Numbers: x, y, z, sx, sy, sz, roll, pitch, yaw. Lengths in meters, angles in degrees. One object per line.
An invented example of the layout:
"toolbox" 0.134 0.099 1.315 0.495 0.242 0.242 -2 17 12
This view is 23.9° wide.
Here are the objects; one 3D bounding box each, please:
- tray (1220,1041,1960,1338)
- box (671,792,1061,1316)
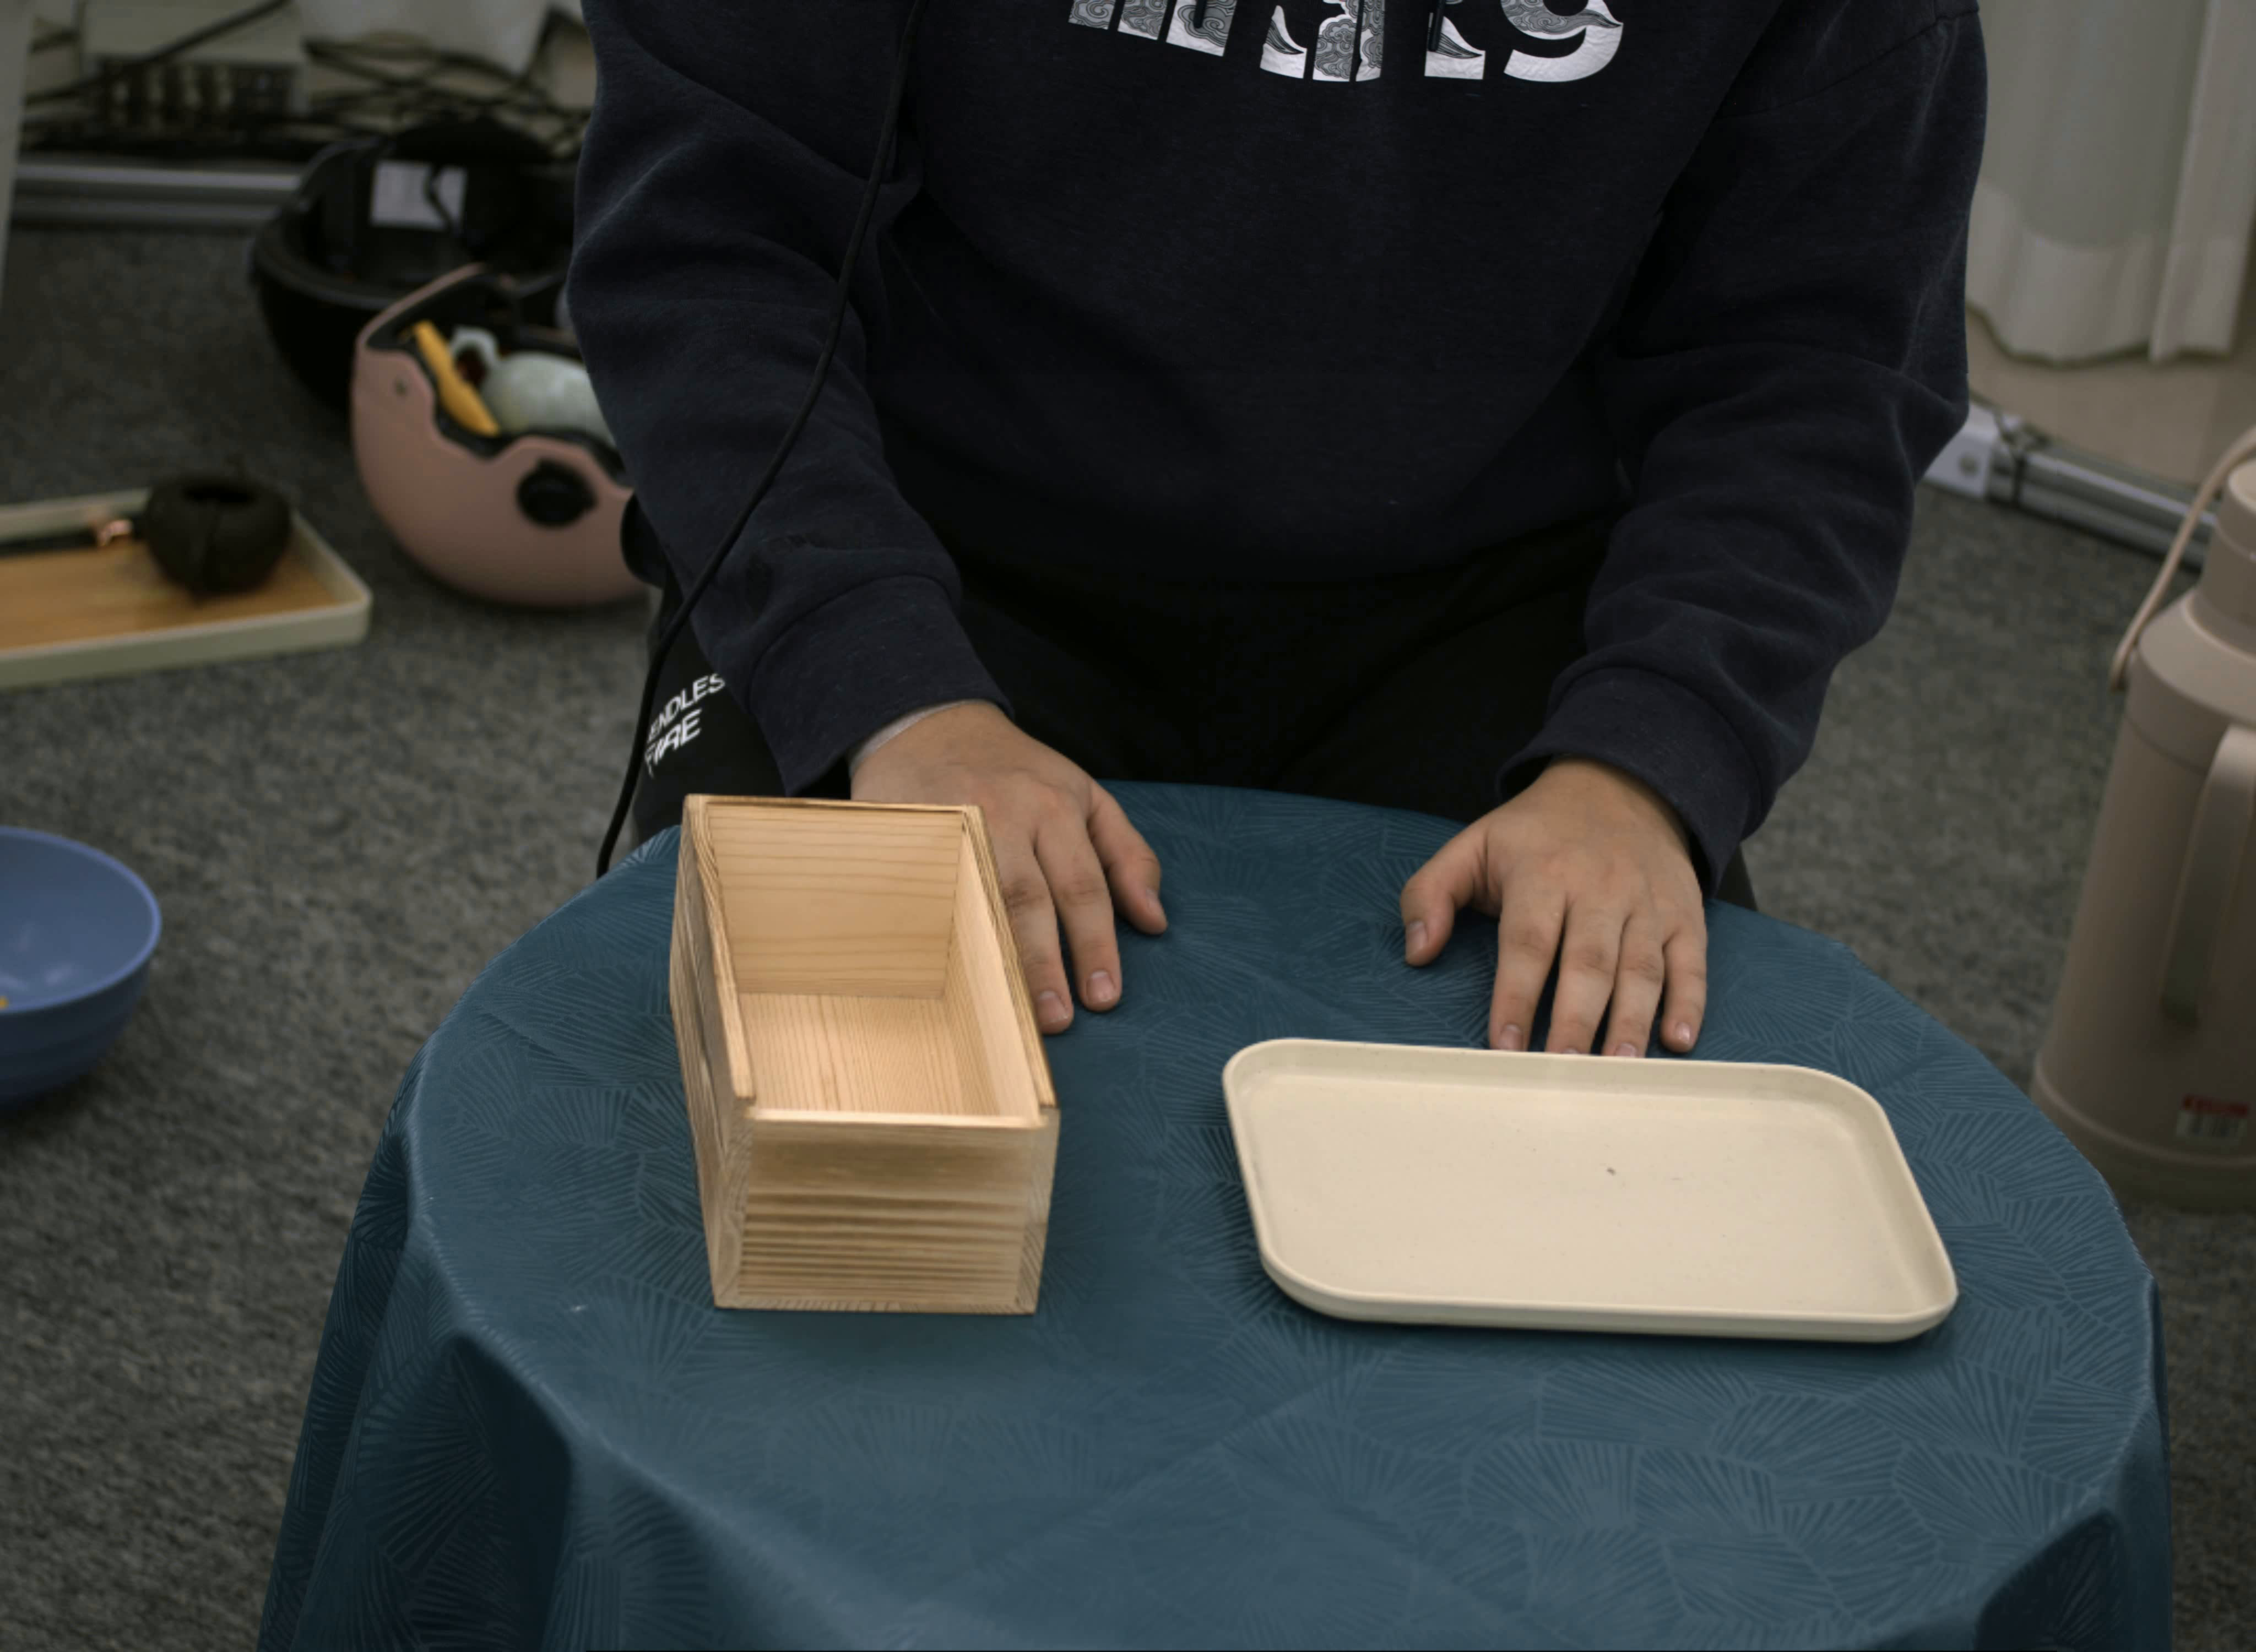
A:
"tray" 0.155 0.125 1.821 0.238 0.017 0.172 3 26 -8
"box" -0.092 0.074 1.795 0.107 0.080 0.213 2 27 -11
